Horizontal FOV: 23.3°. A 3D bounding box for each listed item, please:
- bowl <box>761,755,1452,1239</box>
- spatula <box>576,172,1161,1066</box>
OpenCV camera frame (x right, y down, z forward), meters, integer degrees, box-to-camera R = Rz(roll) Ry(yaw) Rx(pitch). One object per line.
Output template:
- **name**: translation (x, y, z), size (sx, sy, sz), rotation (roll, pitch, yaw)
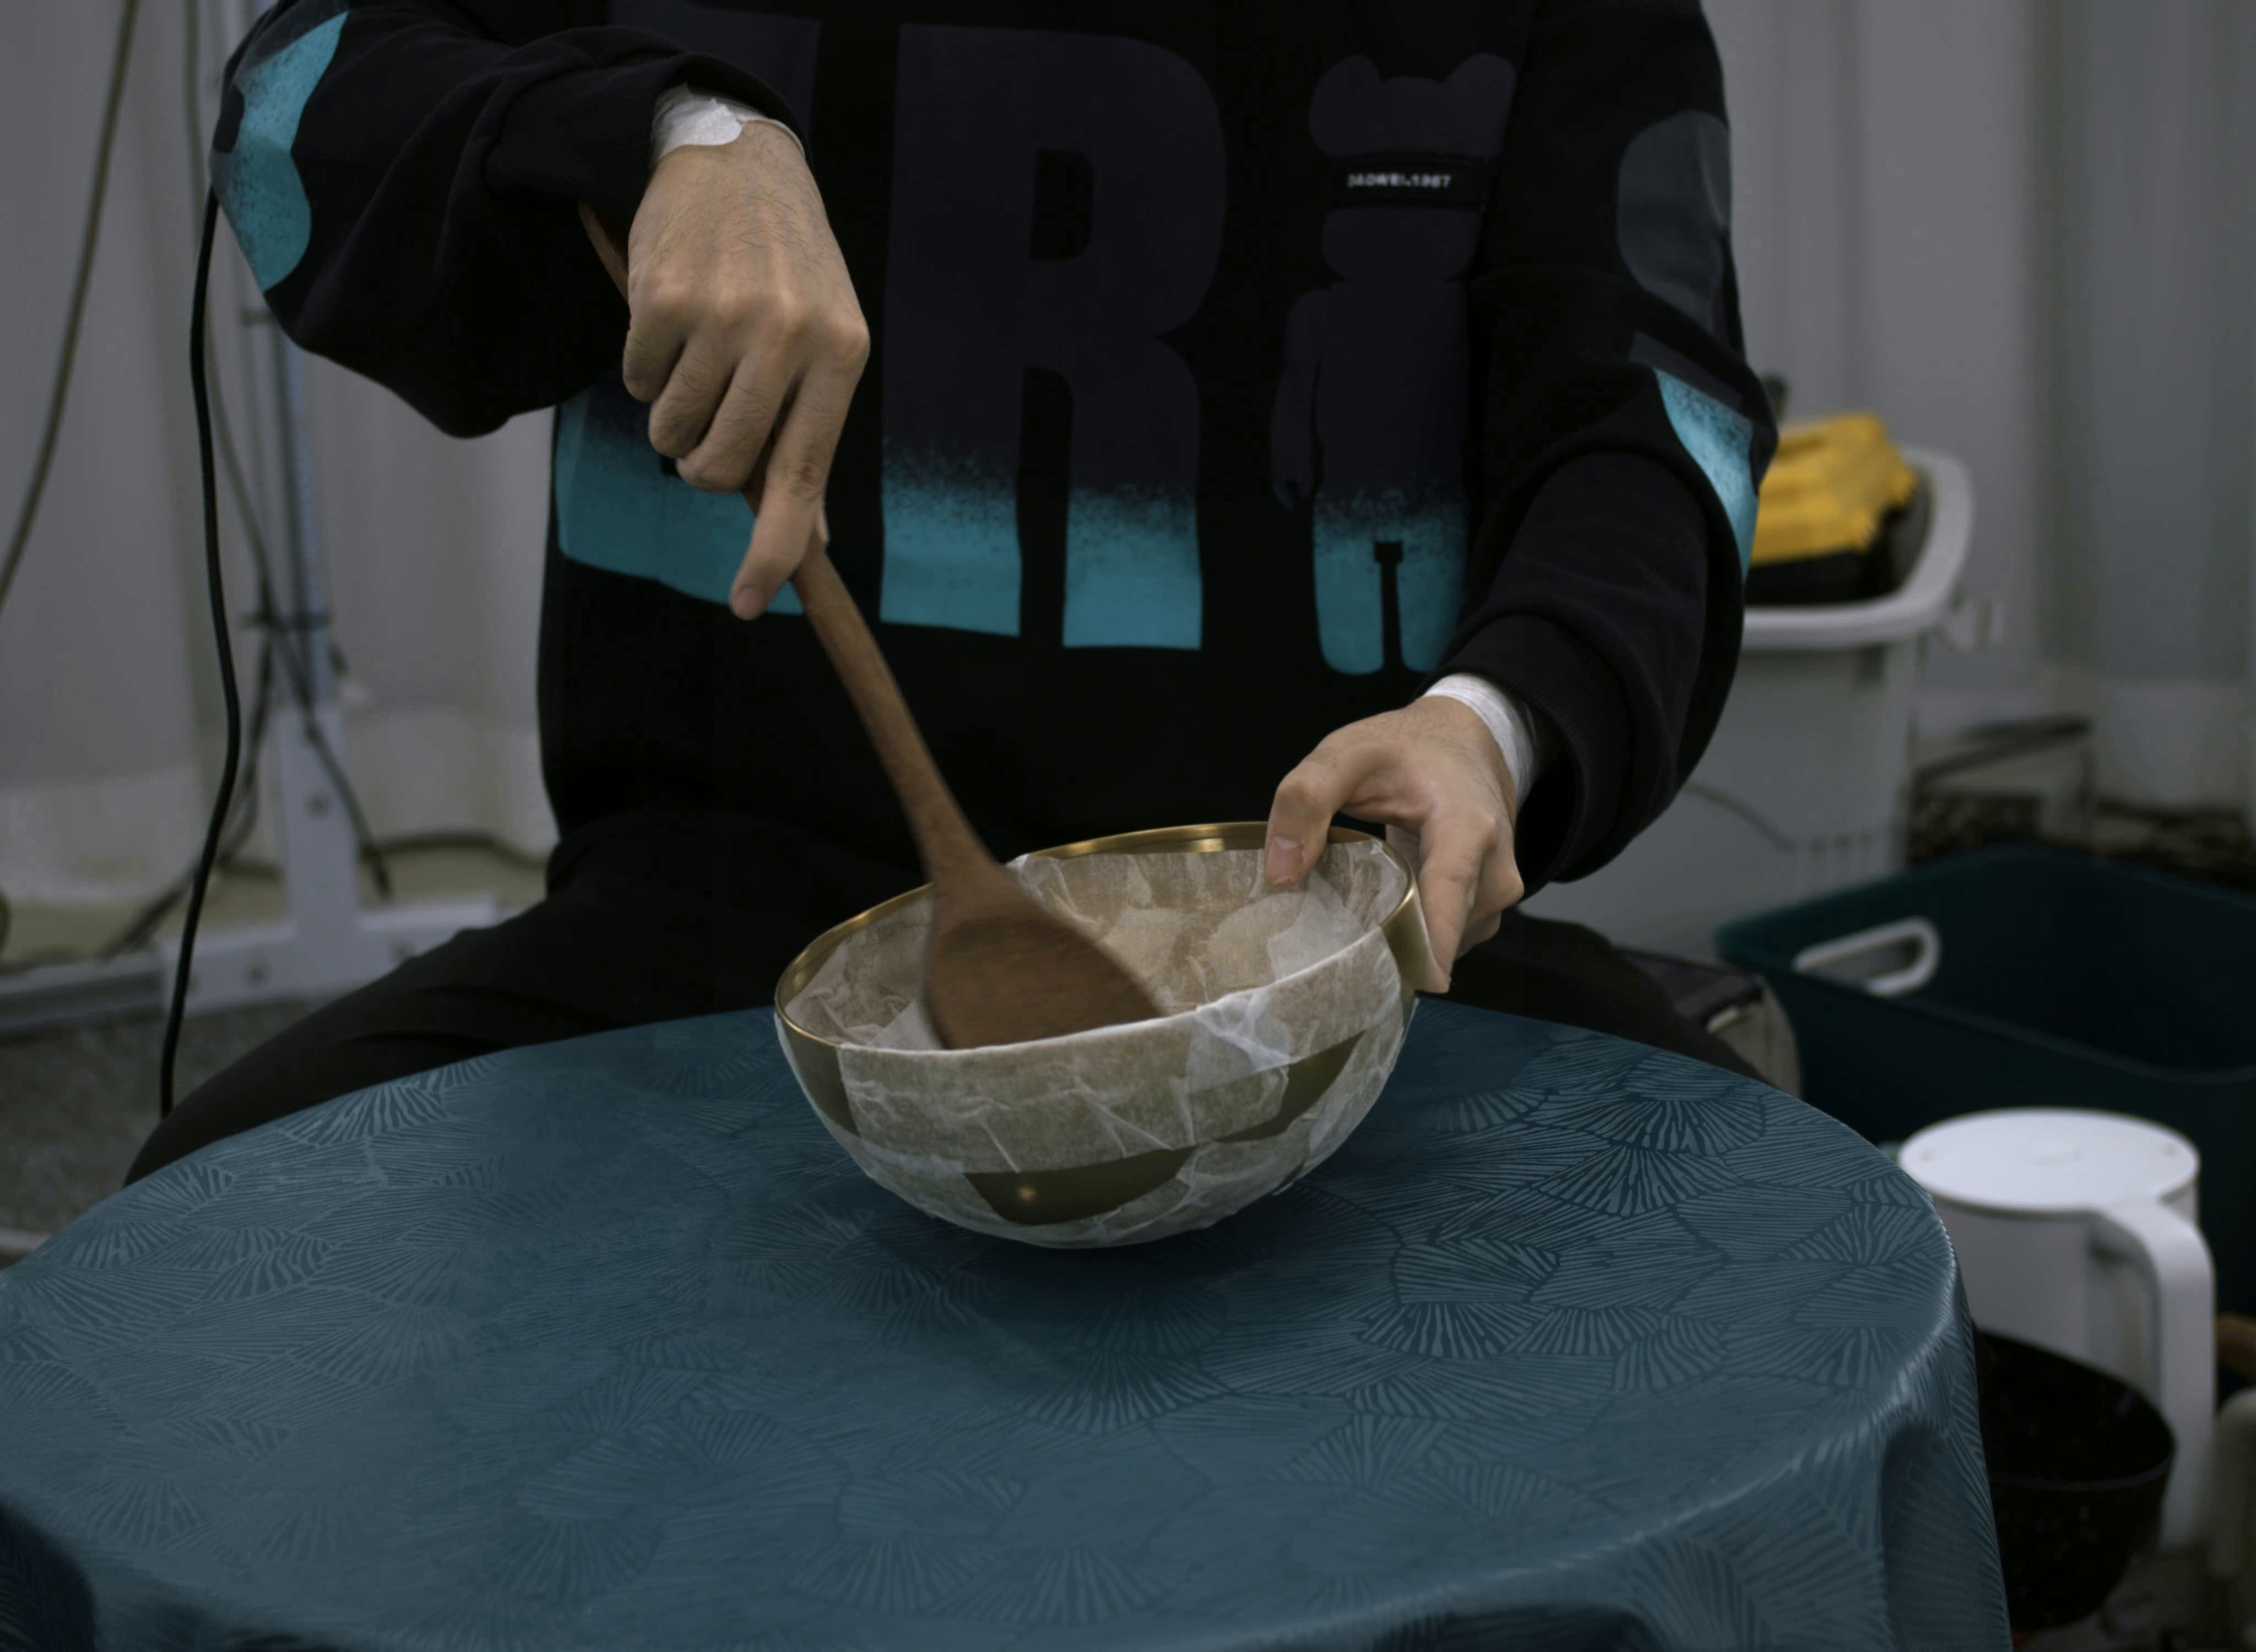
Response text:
- **bowl**: translation (0.000, 0.063, 1.672), size (0.214, 0.094, 0.217), rotation (-12, 24, 5)
- **spatula**: translation (-0.090, -0.056, 1.731), size (0.095, 0.390, 0.015), rotation (-5, -31, -45)
